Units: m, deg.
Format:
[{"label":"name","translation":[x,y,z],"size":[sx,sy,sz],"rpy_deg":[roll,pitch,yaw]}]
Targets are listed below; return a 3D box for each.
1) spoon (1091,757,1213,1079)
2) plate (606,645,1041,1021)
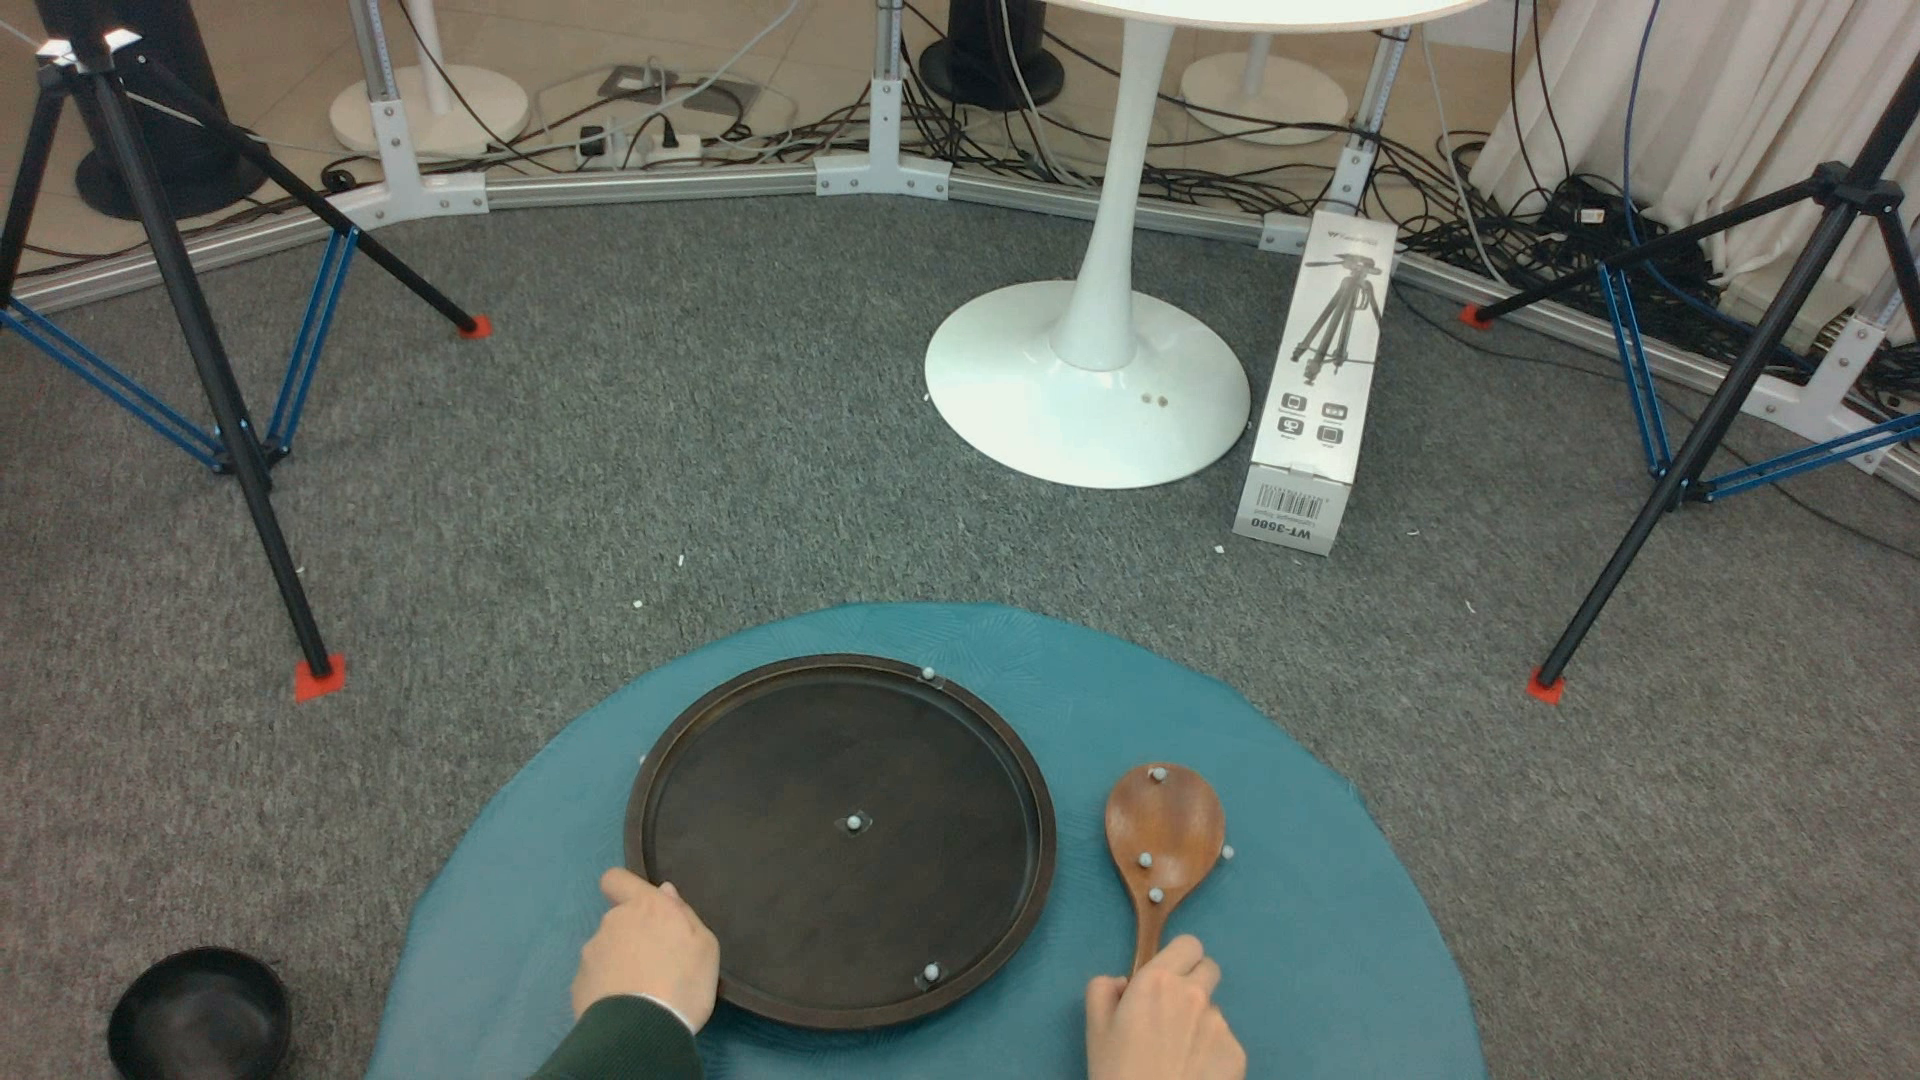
[{"label":"spoon","translation":[0.104,0.216,0.797],"size":[0.075,0.017,0.217],"rpy_deg":[12,45,4]},{"label":"plate","translation":[-0.078,0.165,0.813],"size":[0.255,0.029,0.256],"rpy_deg":[5,43,-5]}]
